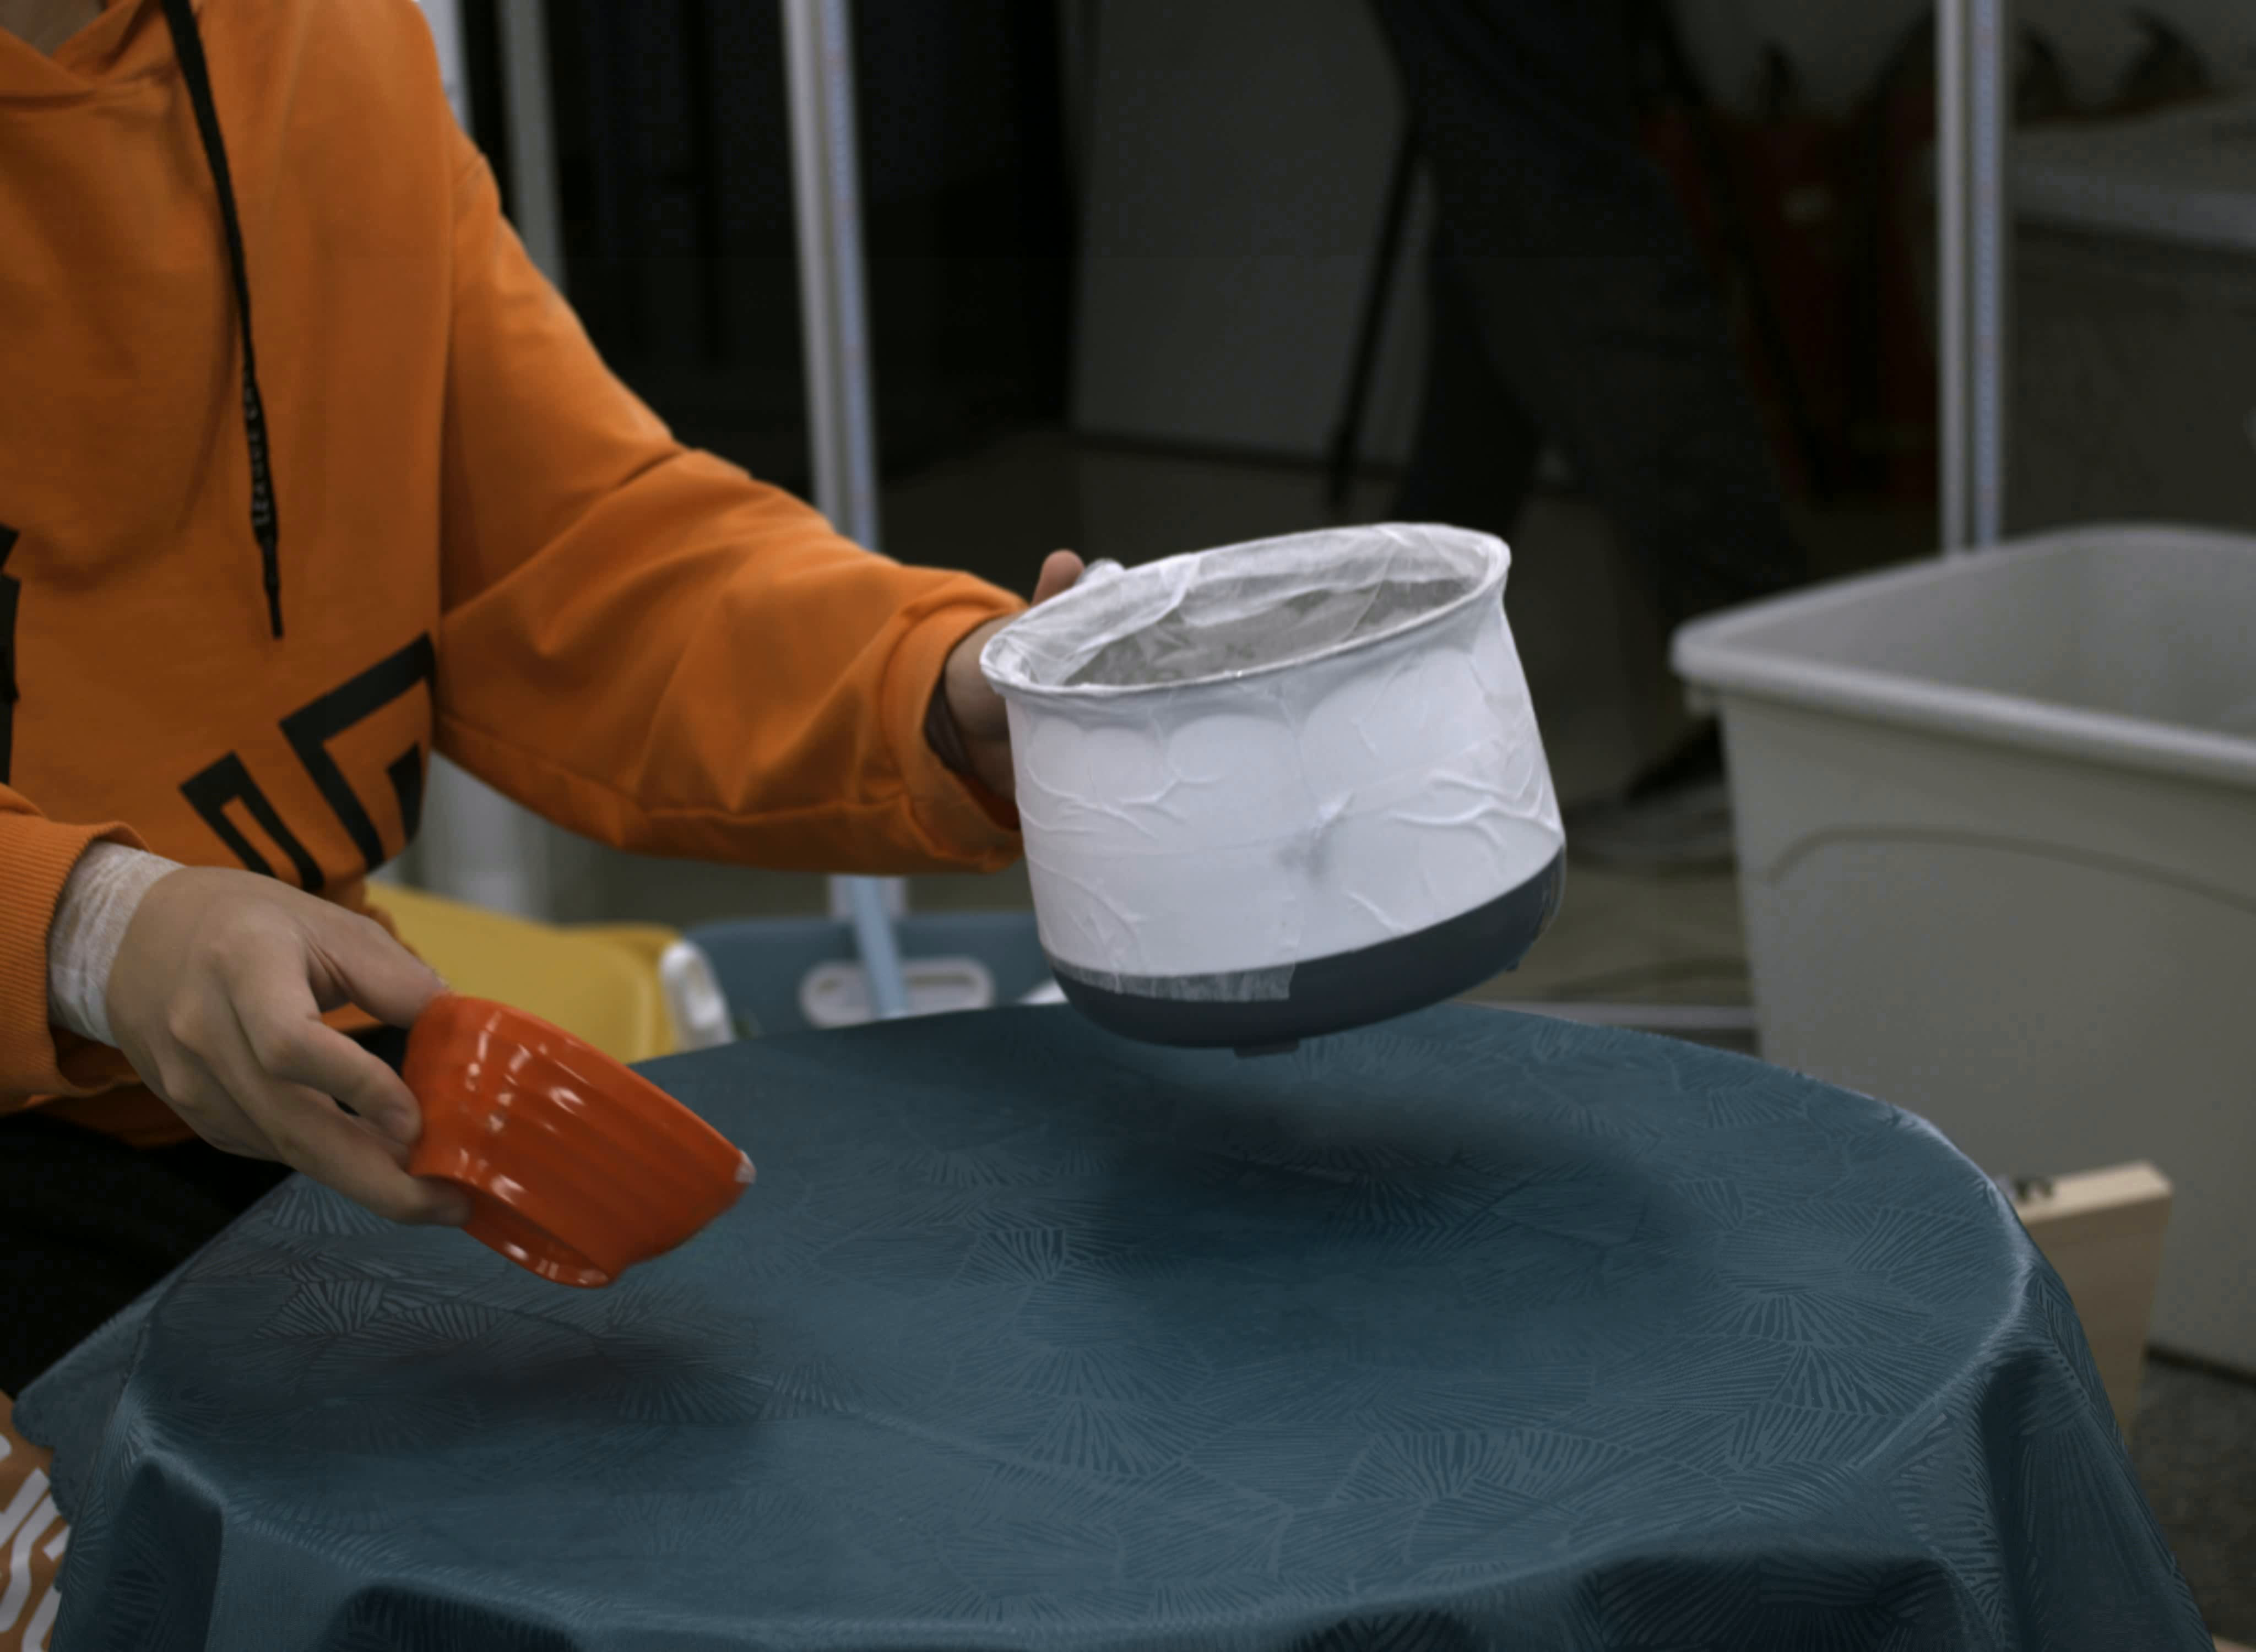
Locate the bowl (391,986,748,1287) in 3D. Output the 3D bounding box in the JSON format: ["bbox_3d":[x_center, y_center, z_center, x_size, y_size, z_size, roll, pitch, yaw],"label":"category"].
[{"bbox_3d":[-0.176,0.099,1.618,0.118,0.051,0.119,27,-18,8],"label":"bowl"}]

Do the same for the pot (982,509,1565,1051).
[{"bbox_3d":[0.037,-0.019,1.781,0.175,0.138,0.236,-19,16,-25],"label":"pot"}]
